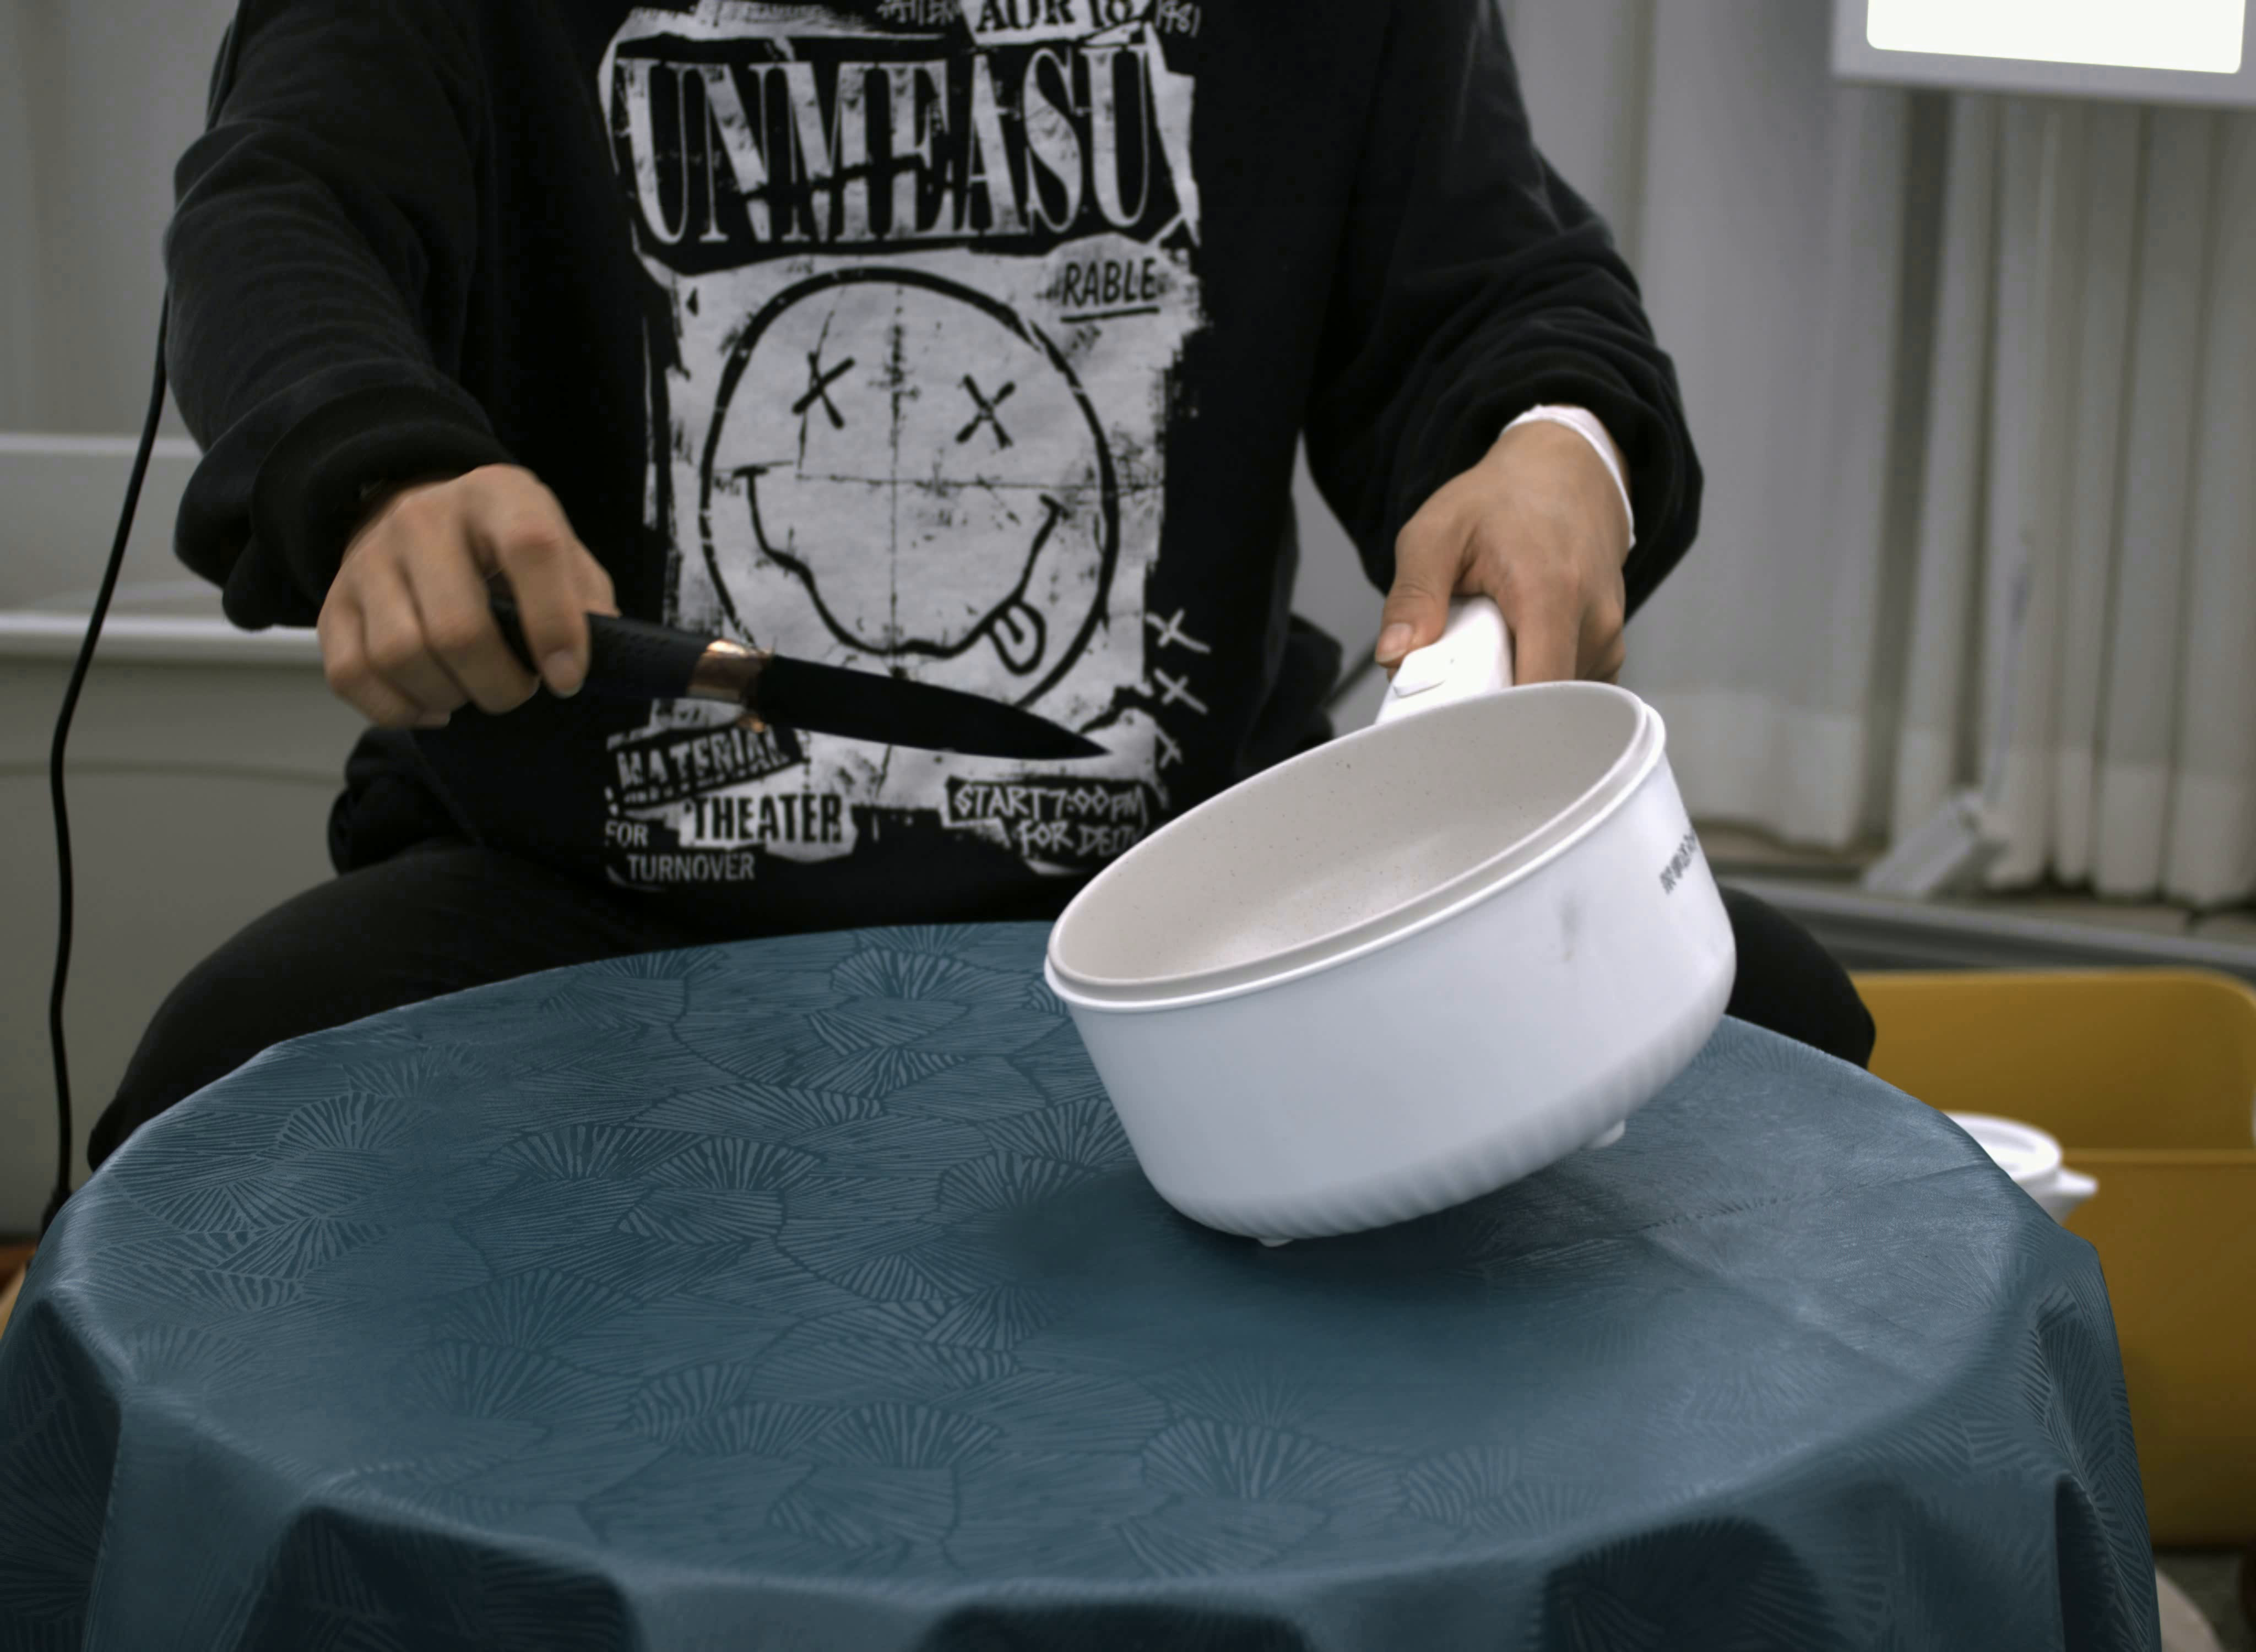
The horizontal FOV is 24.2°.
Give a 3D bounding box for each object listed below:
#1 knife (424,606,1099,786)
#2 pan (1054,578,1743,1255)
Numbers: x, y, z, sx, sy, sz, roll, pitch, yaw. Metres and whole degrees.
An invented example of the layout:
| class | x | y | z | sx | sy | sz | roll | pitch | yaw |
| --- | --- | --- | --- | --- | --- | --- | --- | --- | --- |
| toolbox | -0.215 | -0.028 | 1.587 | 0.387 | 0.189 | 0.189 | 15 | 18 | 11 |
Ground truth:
| class | x | y | z | sx | sy | sz | roll | pitch | yaw |
| --- | --- | --- | --- | --- | --- | --- | --- | --- | --- |
| knife | -0.109 | -0.039 | 1.538 | 0.223 | 0.026 | 0.017 | 11 | 4 | 22 |
| pan | 0.102 | 0.021 | 1.665 | 0.200 | 0.103 | 0.353 | -20 | 15 | 18 |
